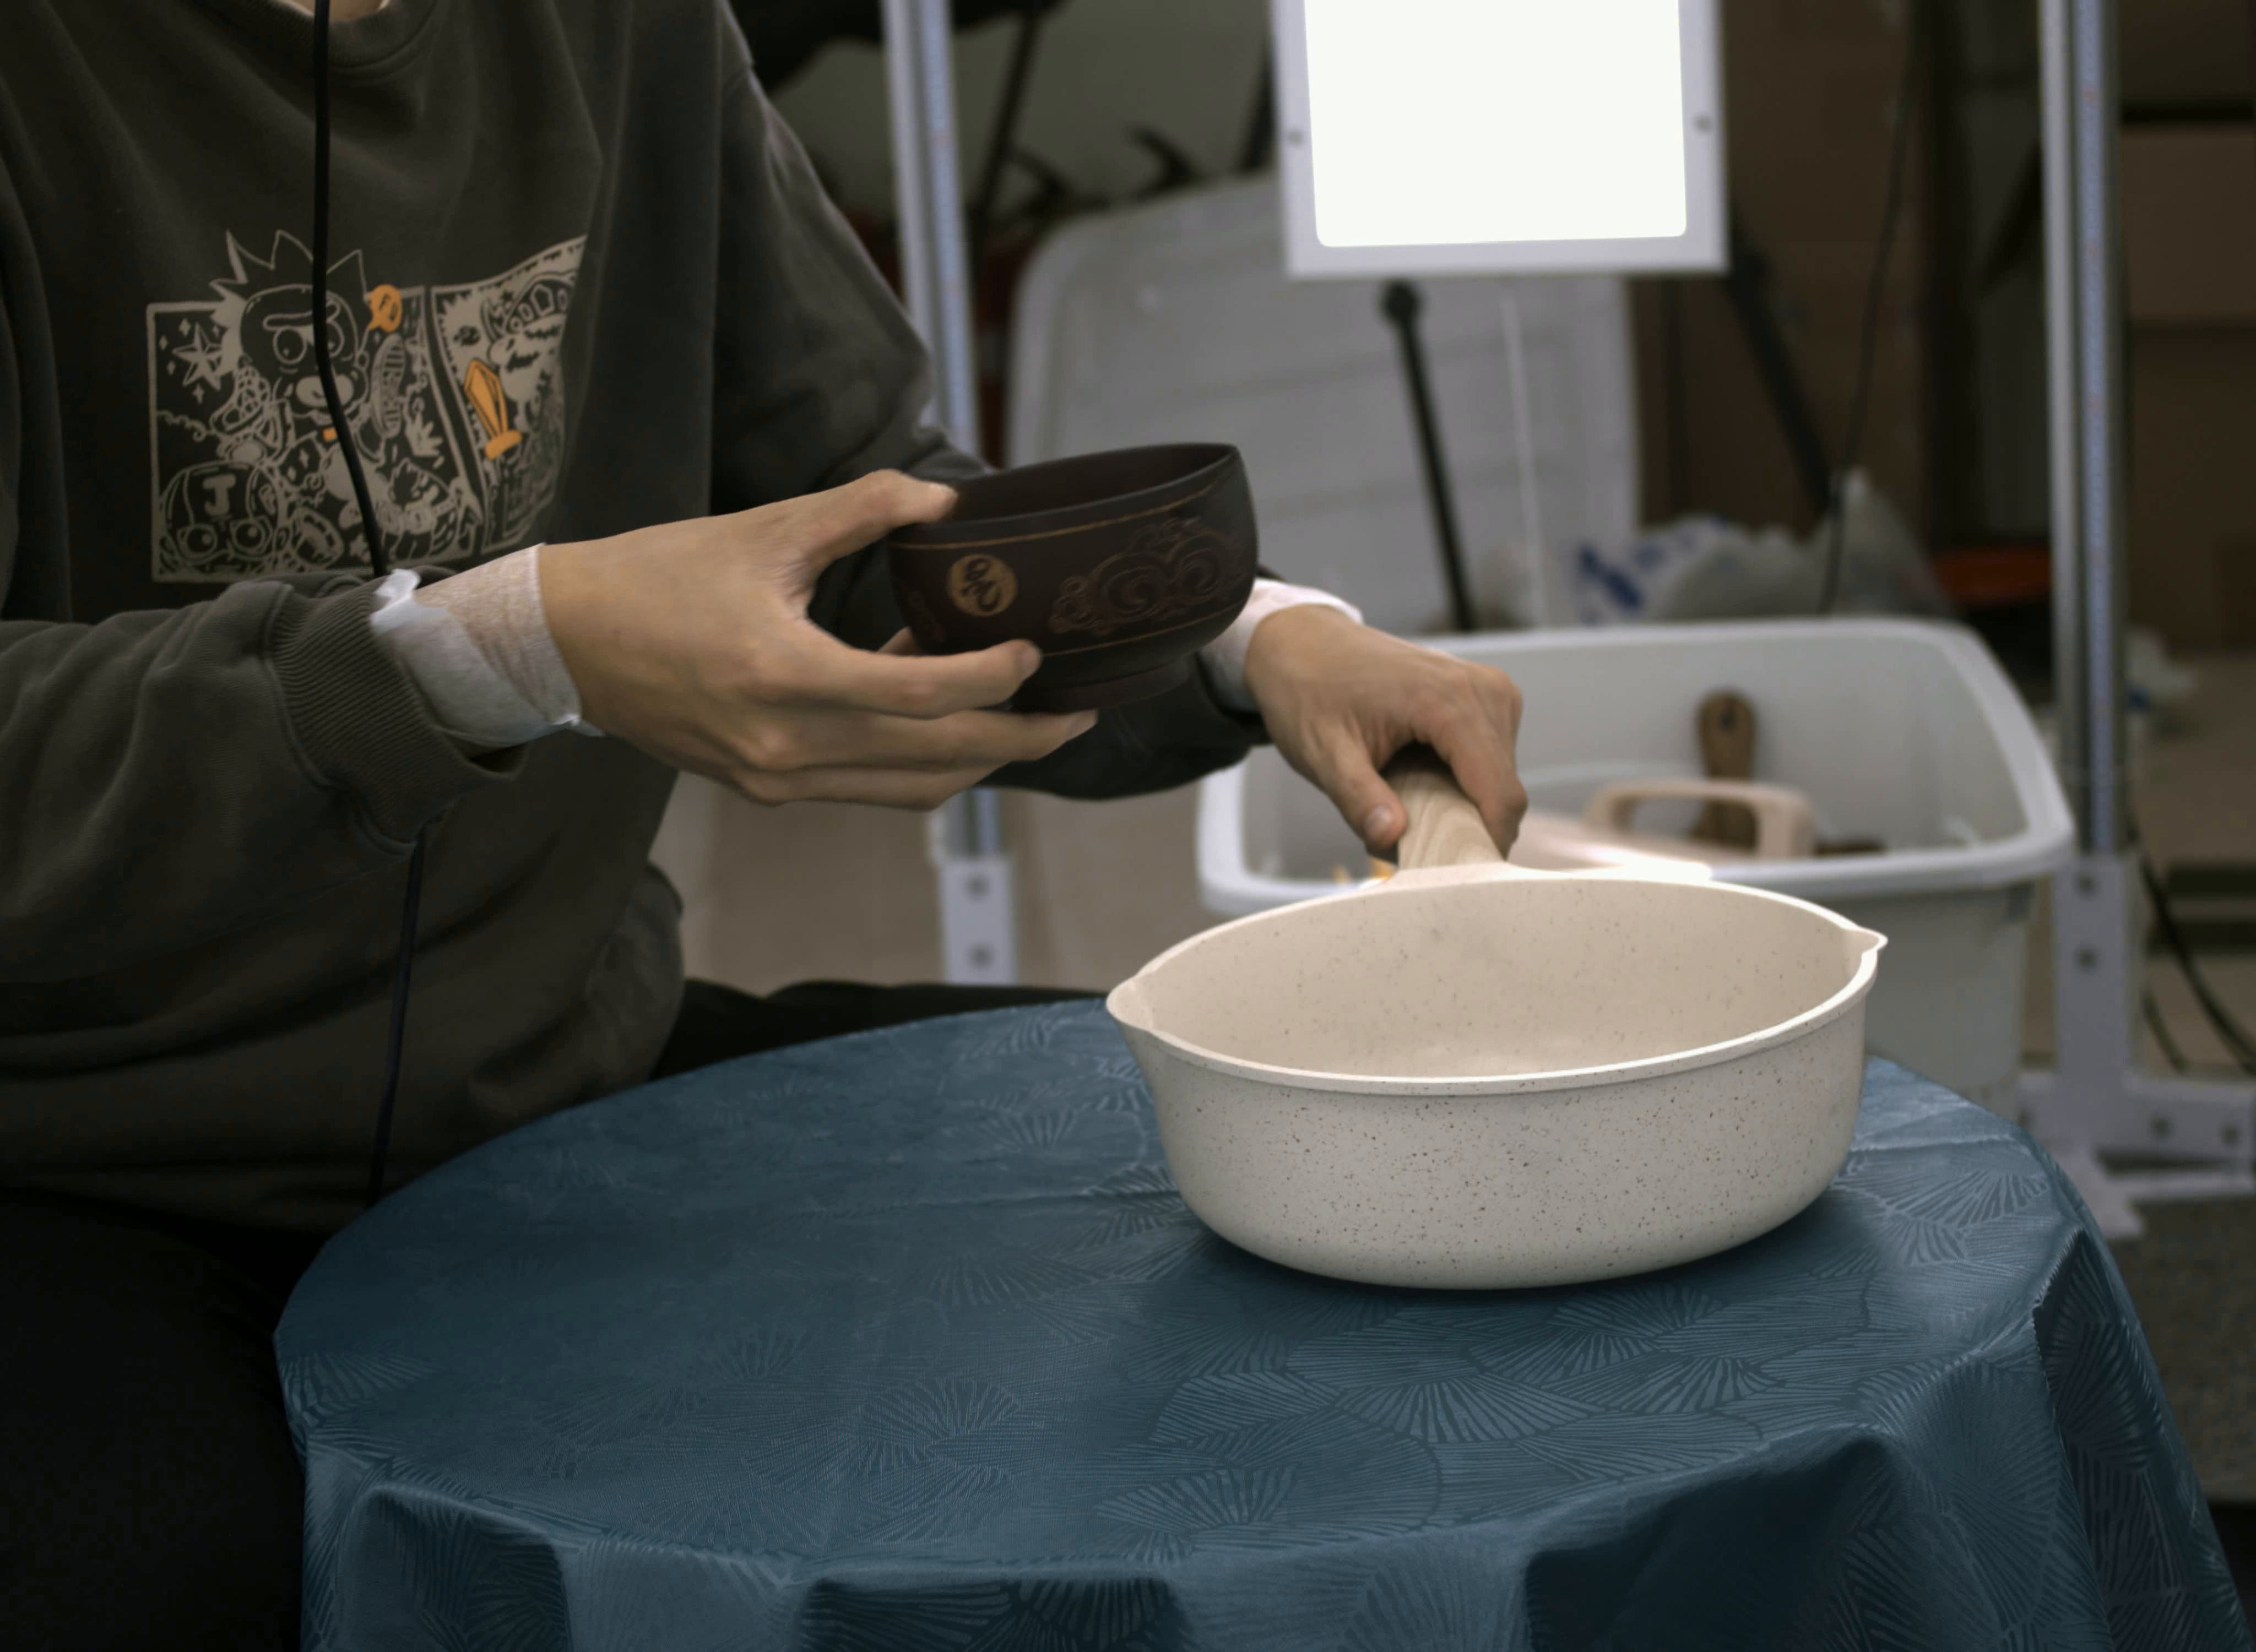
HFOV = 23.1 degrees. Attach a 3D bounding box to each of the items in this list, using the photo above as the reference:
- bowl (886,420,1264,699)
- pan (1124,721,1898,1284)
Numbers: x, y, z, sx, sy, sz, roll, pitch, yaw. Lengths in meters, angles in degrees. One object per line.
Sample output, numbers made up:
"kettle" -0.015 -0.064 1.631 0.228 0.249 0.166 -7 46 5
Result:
"bowl" -0.013 -0.081 1.736 0.118 0.070 0.118 -13 12 2
"pan" 0.126 0.057 1.927 0.262 0.102 0.435 -7 14 -1
